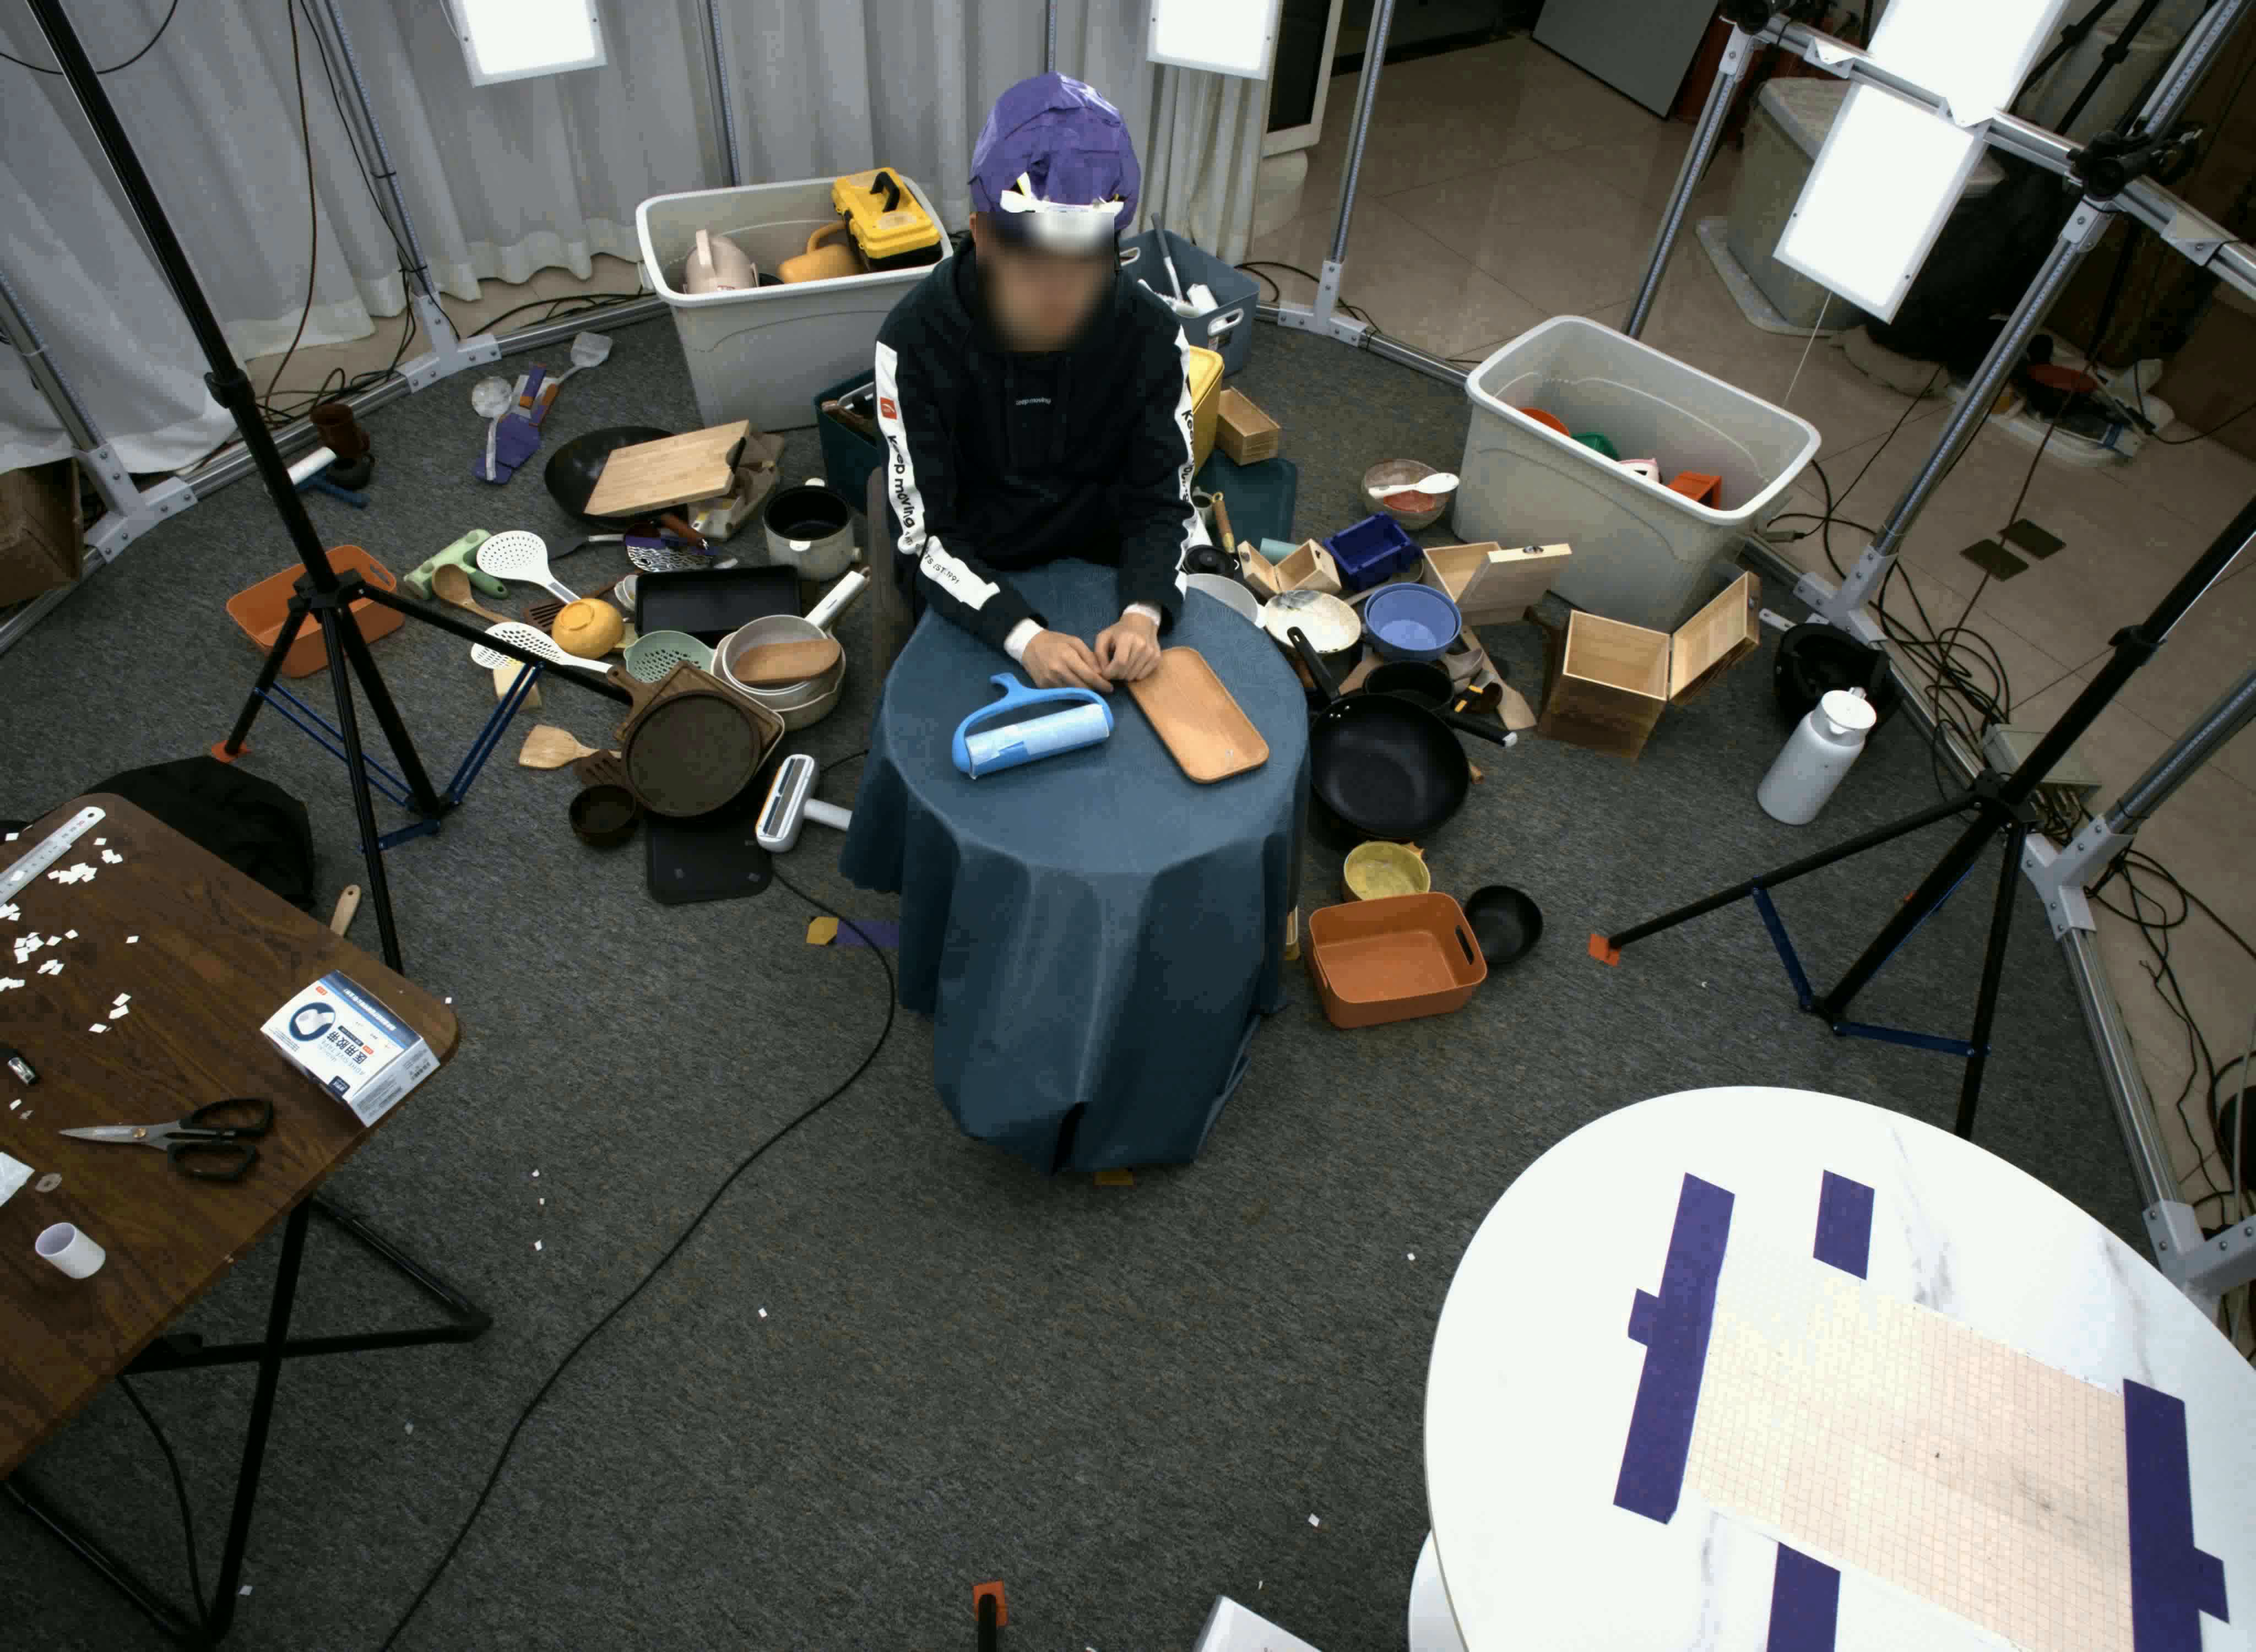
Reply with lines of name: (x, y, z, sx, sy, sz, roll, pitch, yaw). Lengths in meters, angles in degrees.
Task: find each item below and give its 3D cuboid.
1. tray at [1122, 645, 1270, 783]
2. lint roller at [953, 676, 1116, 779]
tray: (0.092, -0.160, 1.801, 0.131, 0.022, 0.256, -16, 51, -19)
lint roller: (-0.149, -0.159, 1.759, 0.229, 0.066, 0.184, -19, 54, -18)
